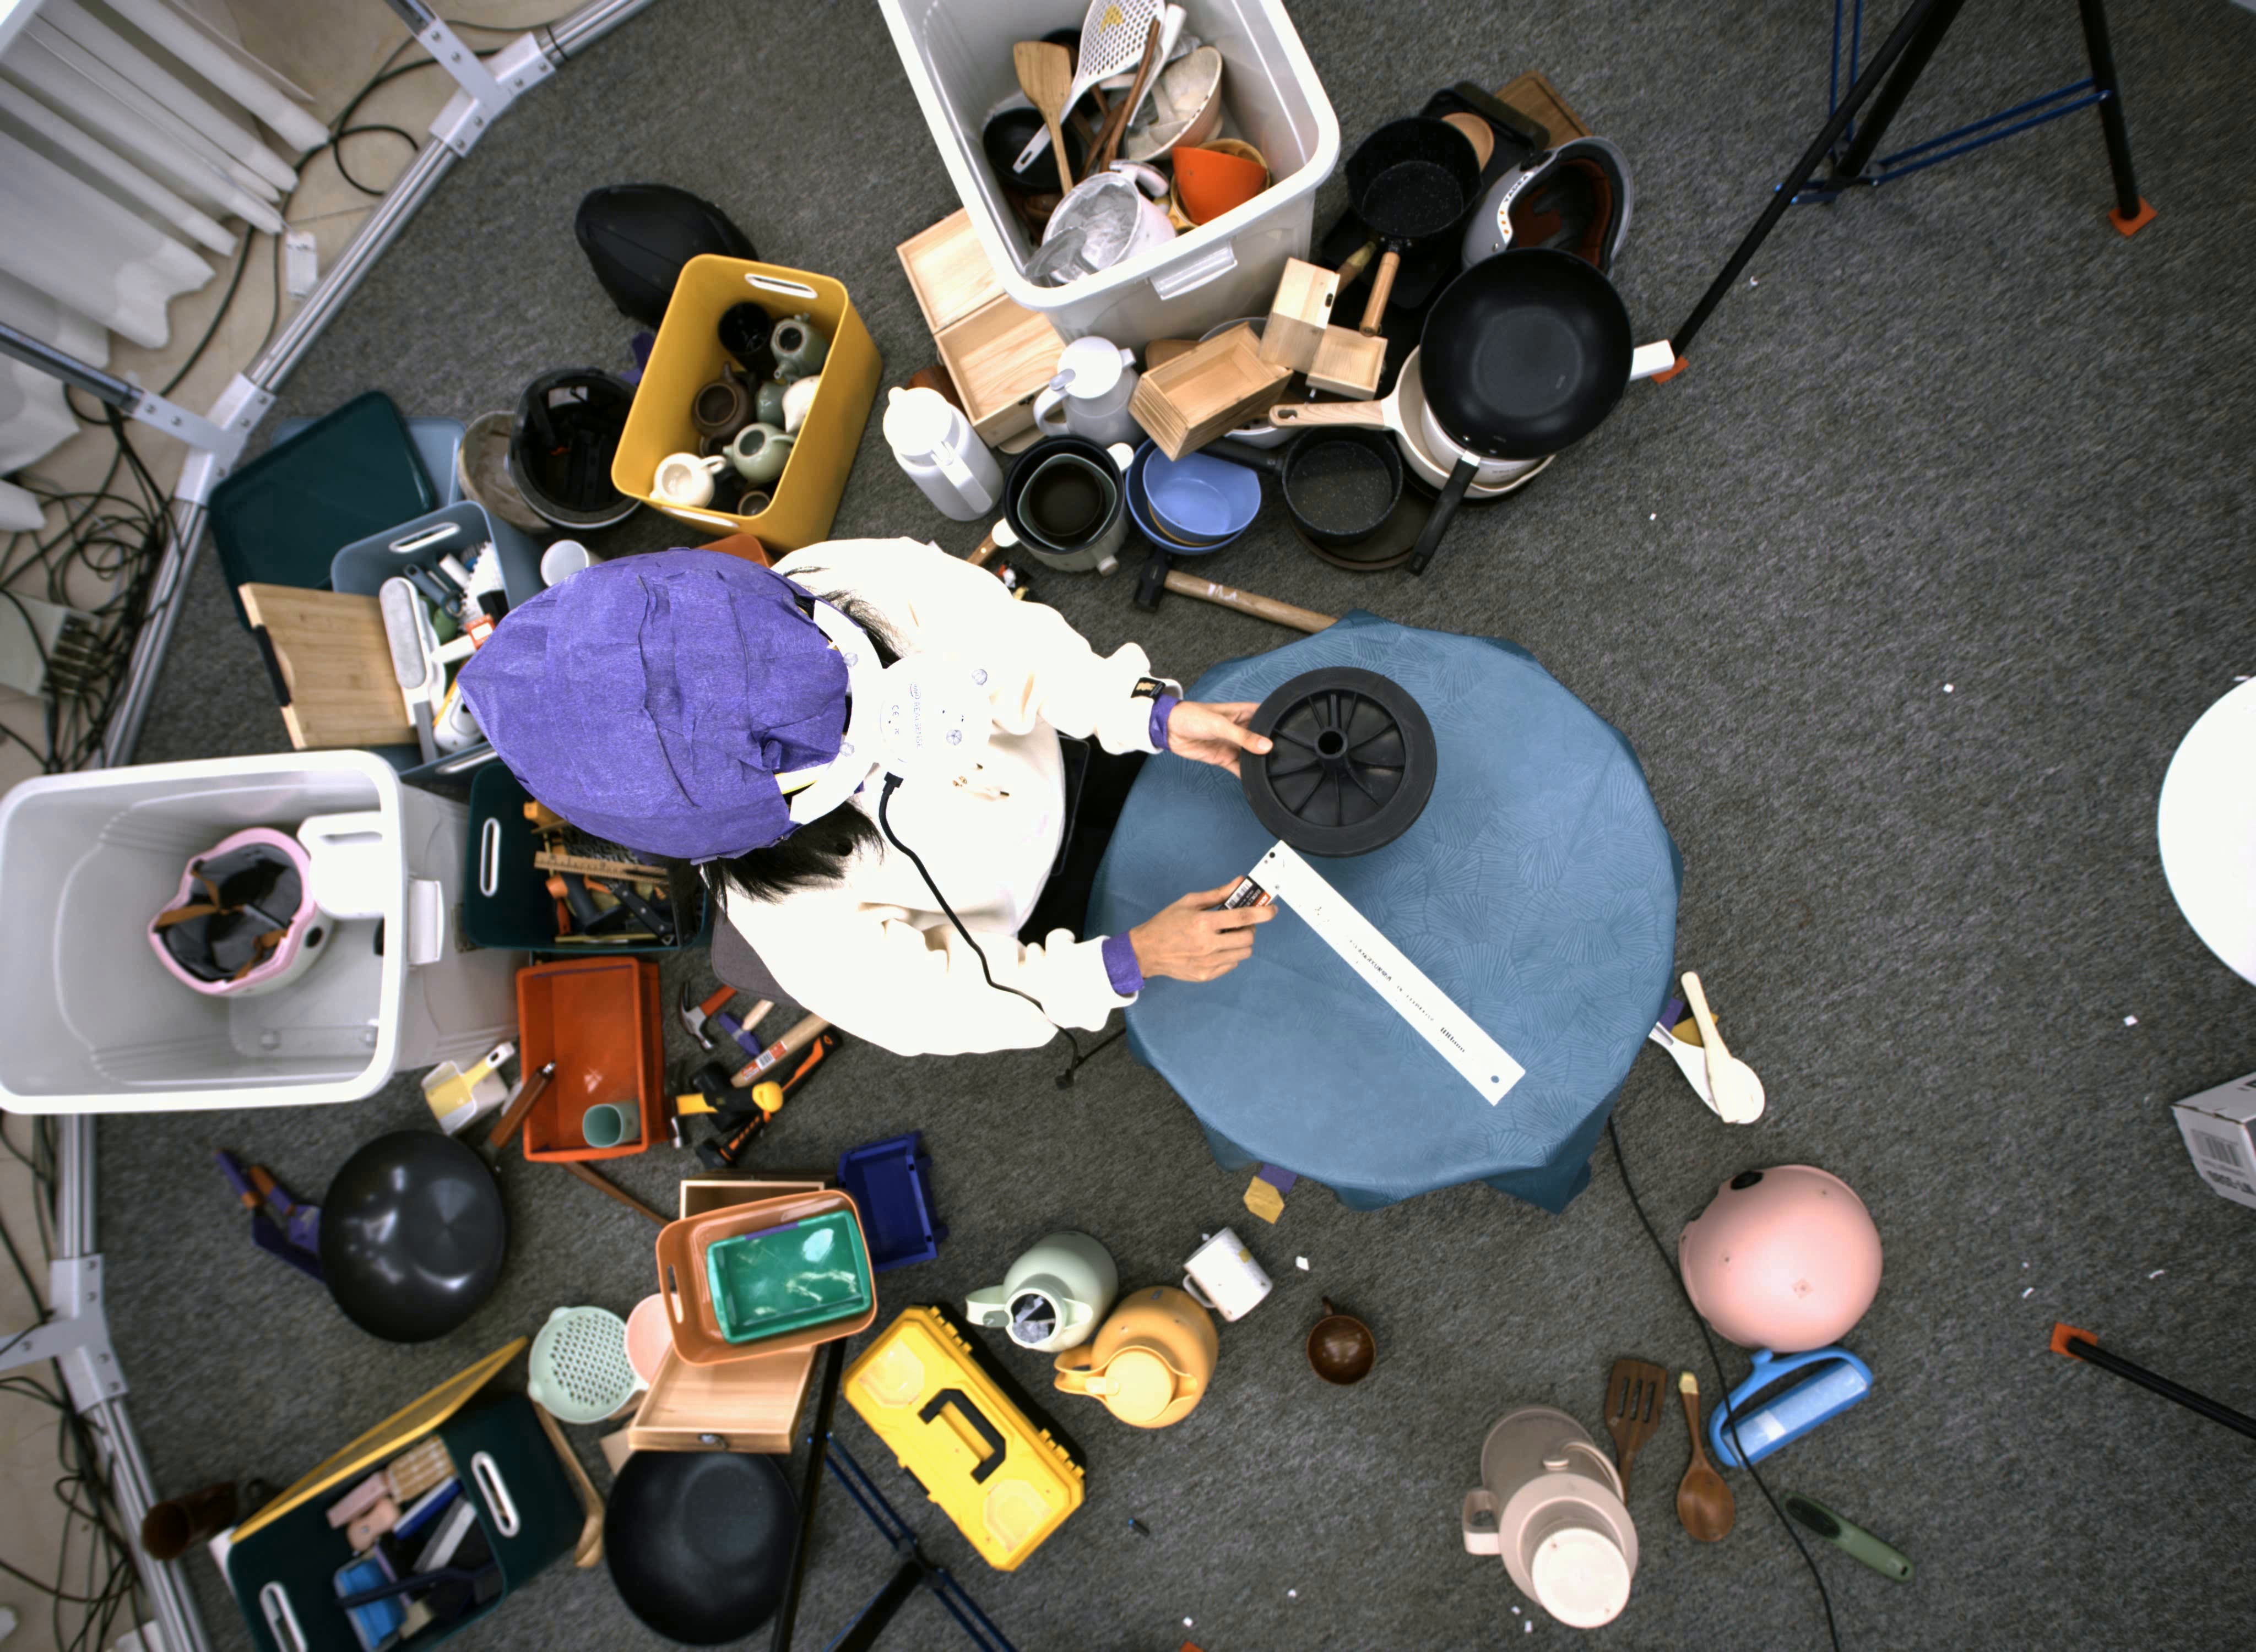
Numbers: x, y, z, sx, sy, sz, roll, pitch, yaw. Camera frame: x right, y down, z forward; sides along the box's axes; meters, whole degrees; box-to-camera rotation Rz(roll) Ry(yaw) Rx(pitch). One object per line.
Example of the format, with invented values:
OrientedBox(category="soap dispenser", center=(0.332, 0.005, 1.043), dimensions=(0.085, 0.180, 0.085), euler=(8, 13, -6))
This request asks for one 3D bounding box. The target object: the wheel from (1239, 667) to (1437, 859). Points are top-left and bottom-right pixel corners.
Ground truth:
OrientedBox(category="wheel", center=(0.195, -0.068, 1.301), dimensions=(0.188, 0.079, 0.187), euler=(-26, 73, 8))

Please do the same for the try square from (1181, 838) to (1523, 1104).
OrientedBox(category="try square", center=(0.199, 0.167, 1.280), dimensions=(0.310, 0.016, 0.154), euler=(46, 109, 22))
